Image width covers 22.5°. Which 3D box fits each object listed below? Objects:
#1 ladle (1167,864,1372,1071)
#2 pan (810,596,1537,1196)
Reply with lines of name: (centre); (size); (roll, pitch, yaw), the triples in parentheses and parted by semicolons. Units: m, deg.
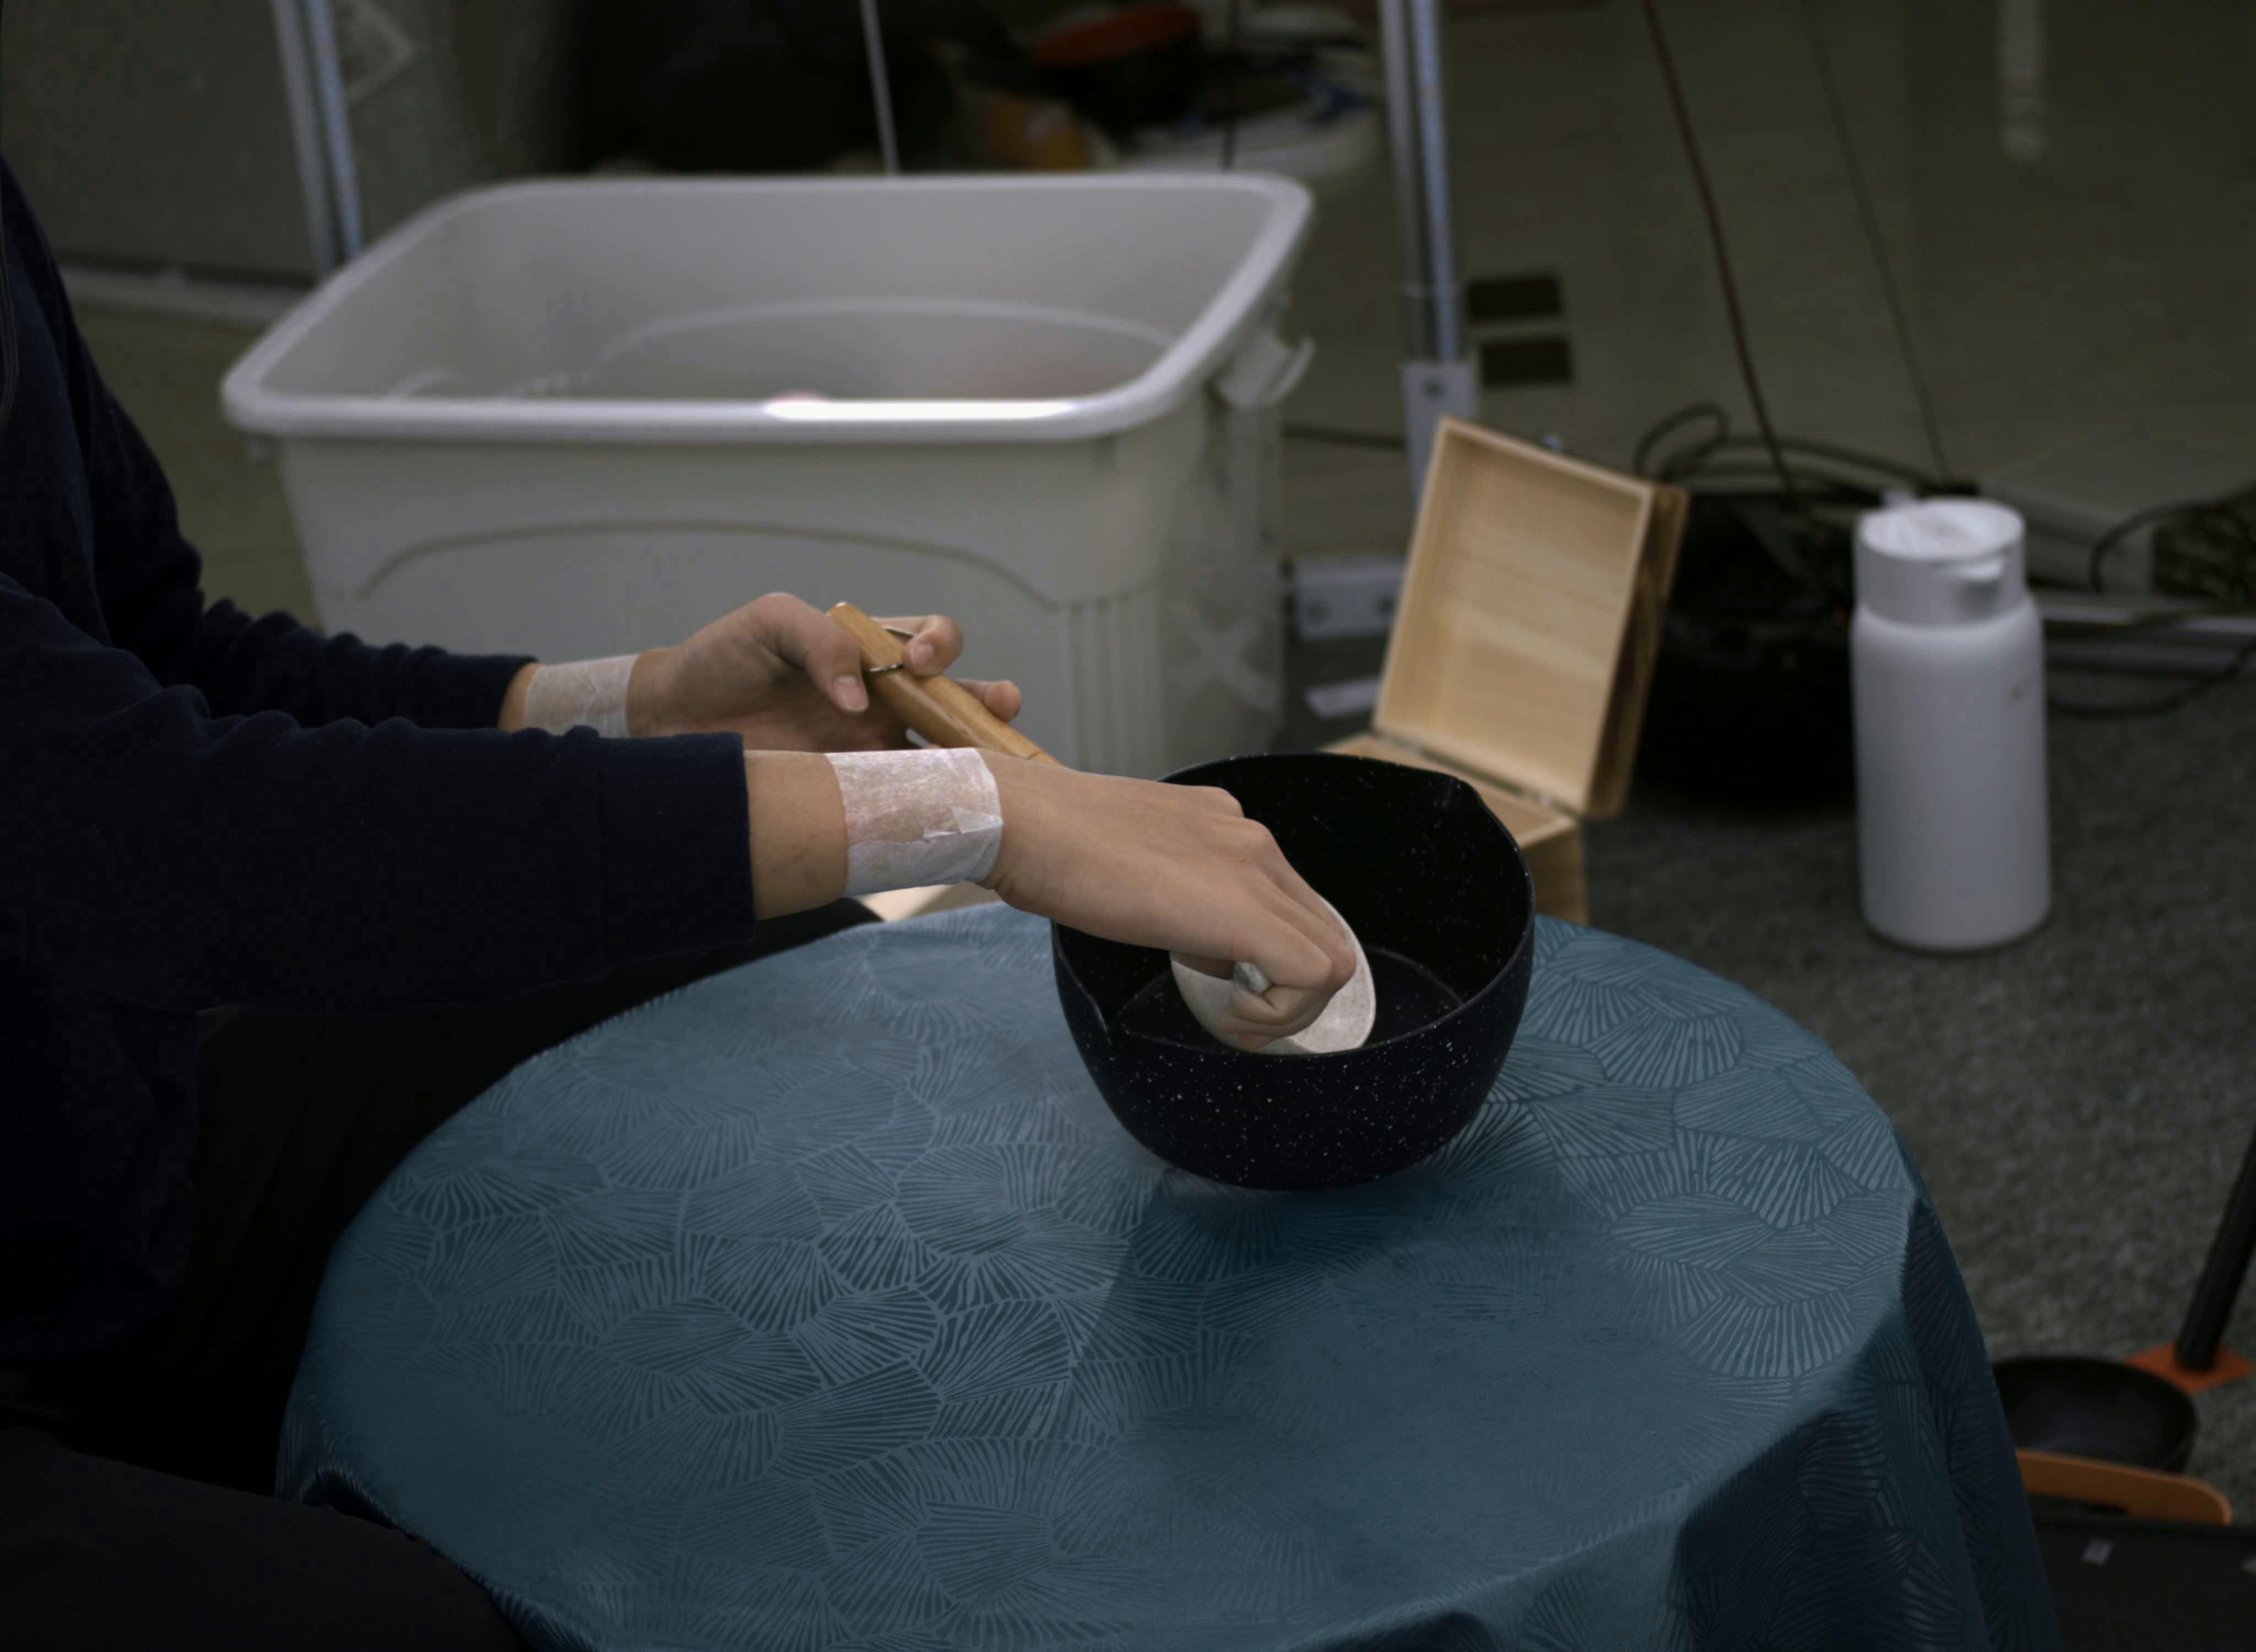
ladle: (0.057, 0.040, 1.983); (0.069, 0.089, 0.276); (-41, -3, -6)
pan: (0.004, 0.020, 2.197); (0.339, 0.110, 0.205); (28, 50, 31)
